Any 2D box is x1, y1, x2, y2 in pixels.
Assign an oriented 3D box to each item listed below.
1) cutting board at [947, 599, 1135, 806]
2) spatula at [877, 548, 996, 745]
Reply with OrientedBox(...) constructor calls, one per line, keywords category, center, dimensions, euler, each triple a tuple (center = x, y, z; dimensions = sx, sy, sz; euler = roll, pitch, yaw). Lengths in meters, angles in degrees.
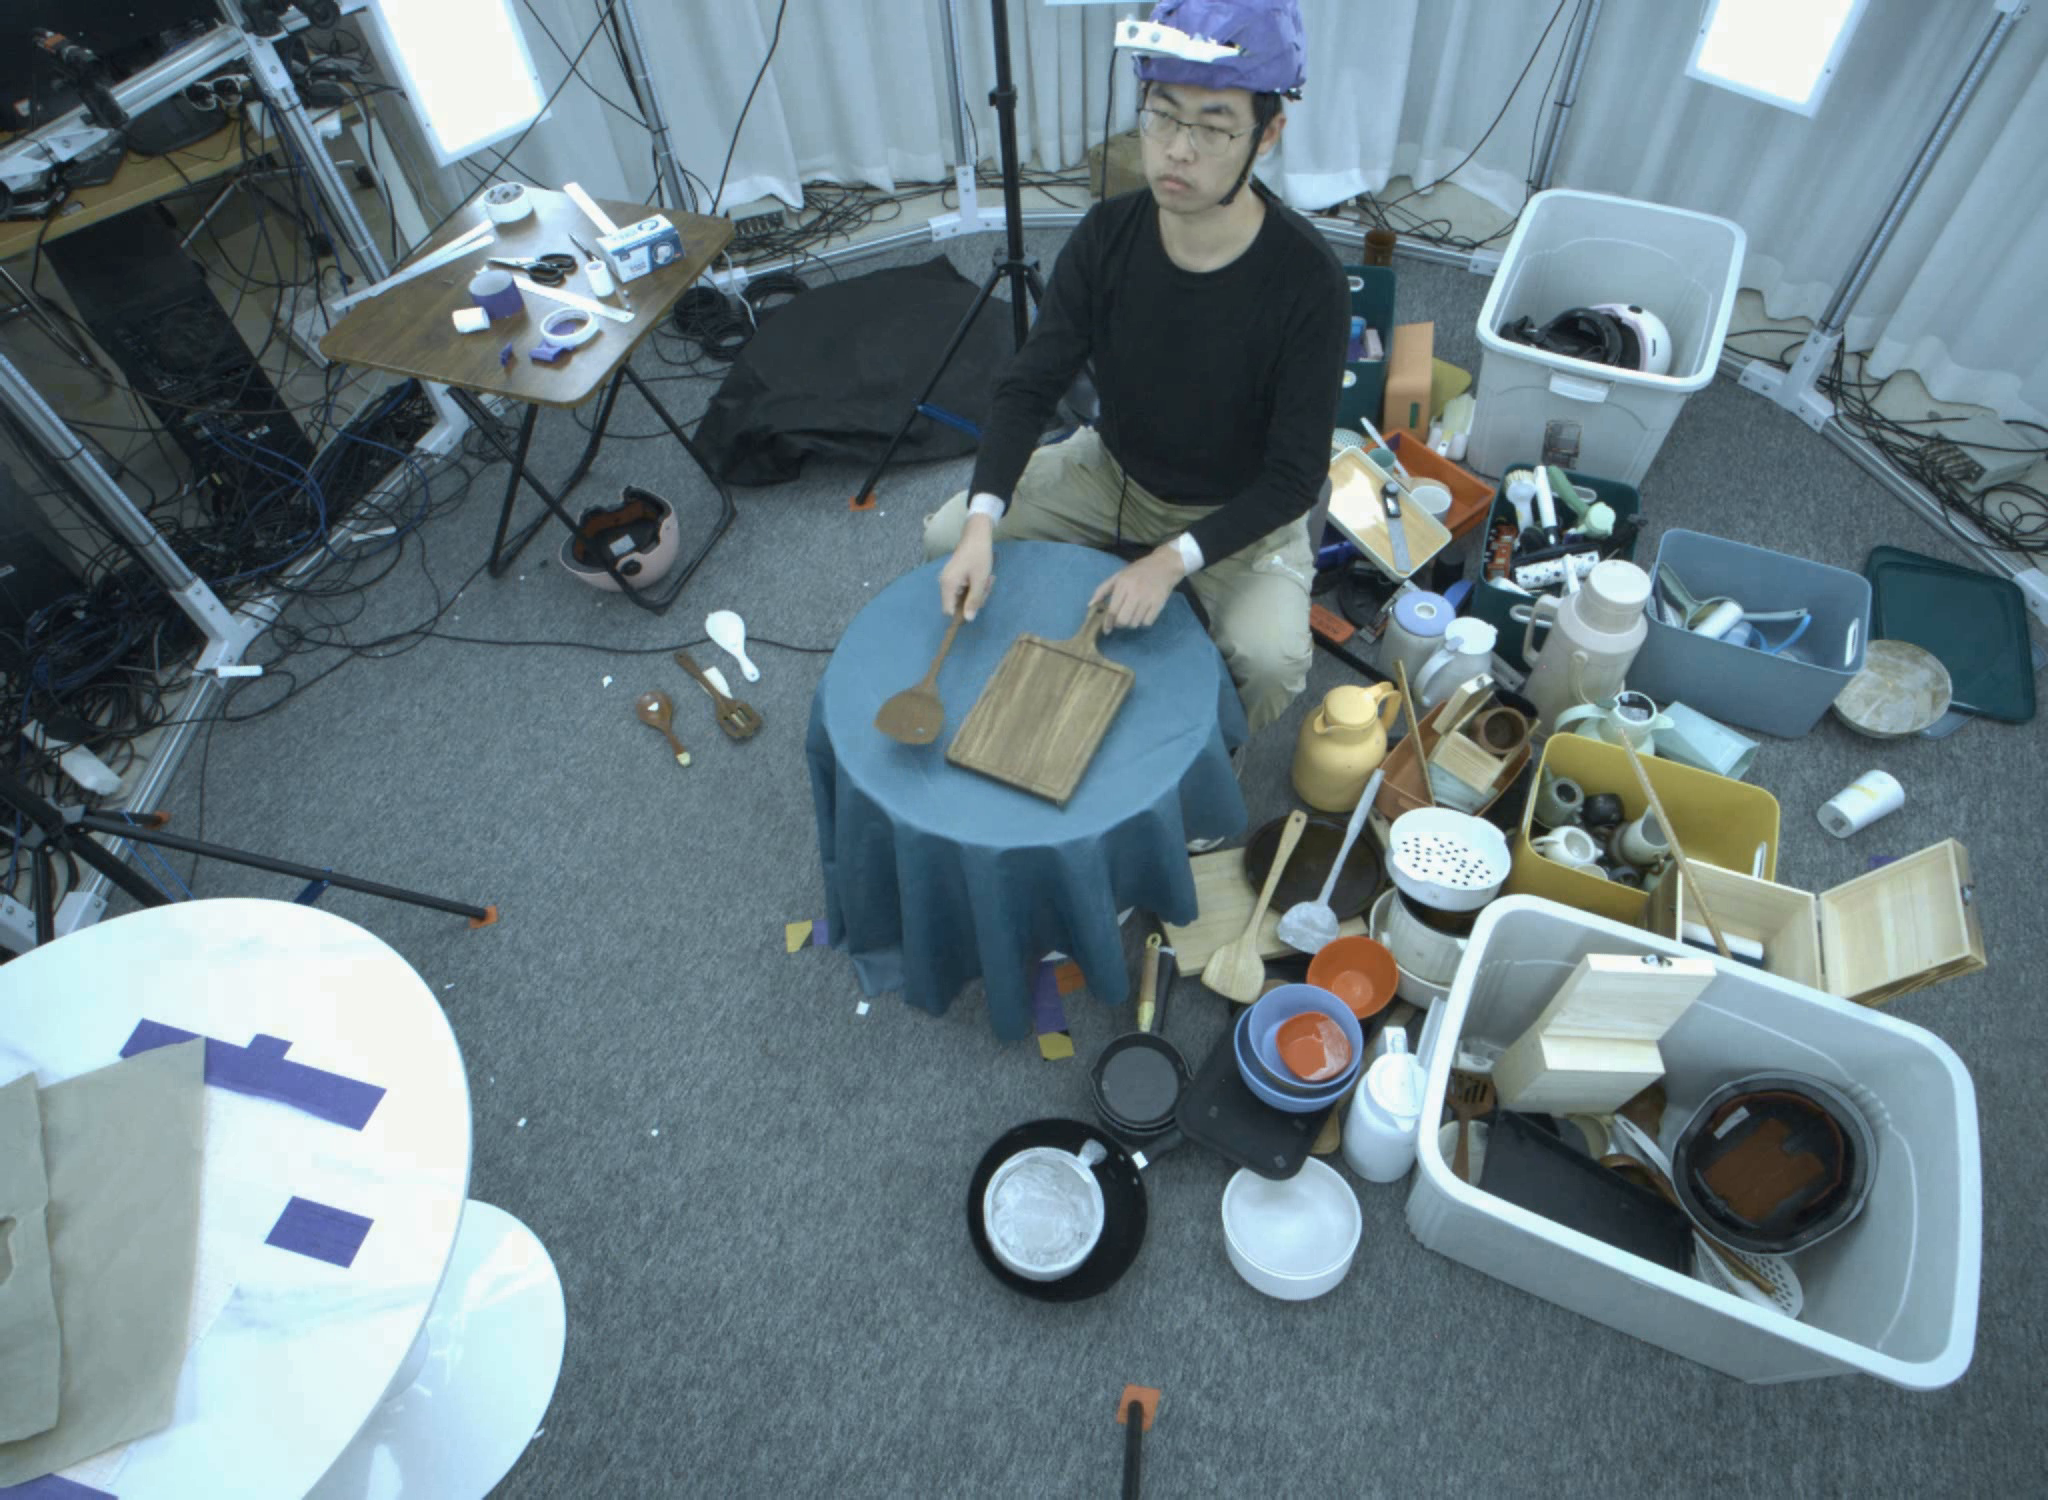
OrientedBox(category="cutting board", center=(0.048, -0.090, 1.823), dimensions=(0.198, 0.023, 0.352), euler=(21, 62, 16))
OrientedBox(category="spatula", center=(-0.113, -0.166, 1.832), dimensions=(0.096, 0.016, 0.385), euler=(19, 59, 4))
